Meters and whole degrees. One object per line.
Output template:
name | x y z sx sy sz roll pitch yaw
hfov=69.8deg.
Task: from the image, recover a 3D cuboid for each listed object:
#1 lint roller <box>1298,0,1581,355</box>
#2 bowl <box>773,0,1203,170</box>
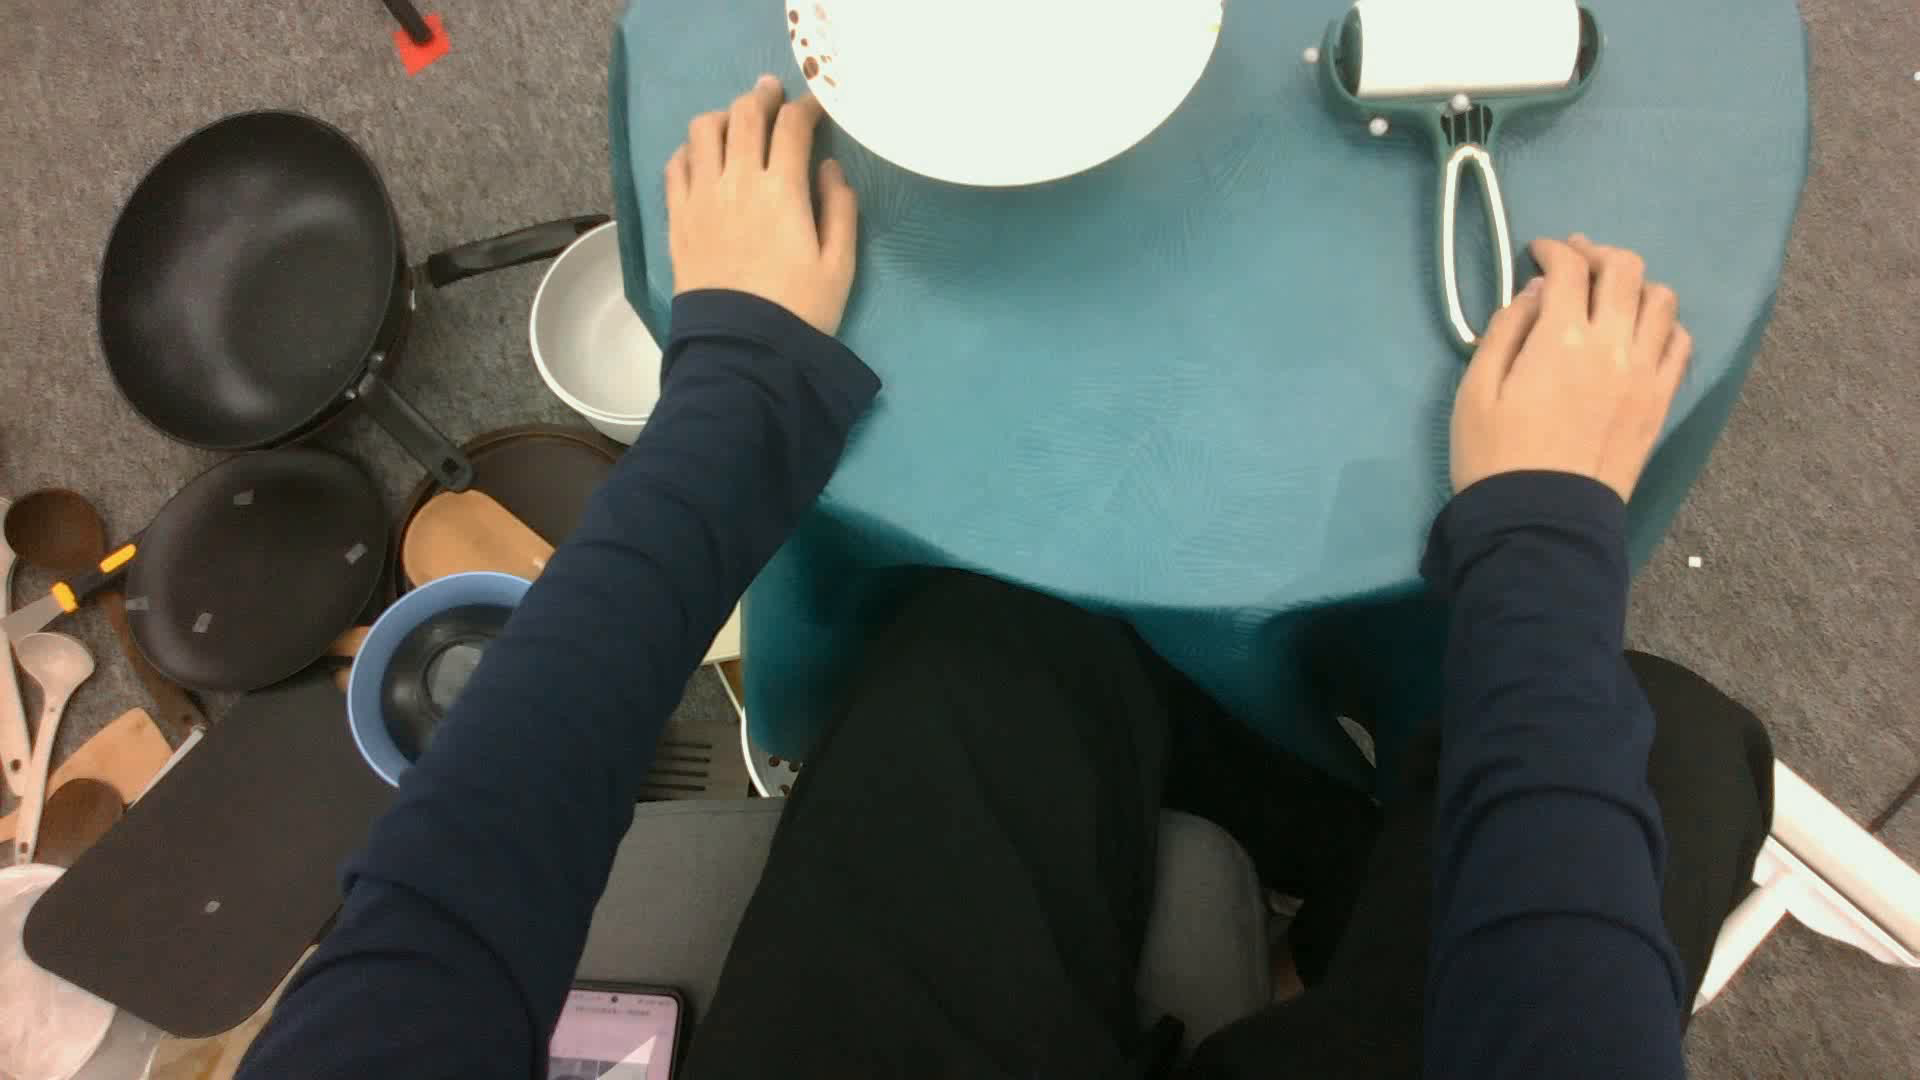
lint roller | 0.234 -0.182 0.663 0.134 0.048 0.180 -2 78 3
bowl | 0.016 -0.255 0.678 0.204 0.078 0.204 -1 74 5
